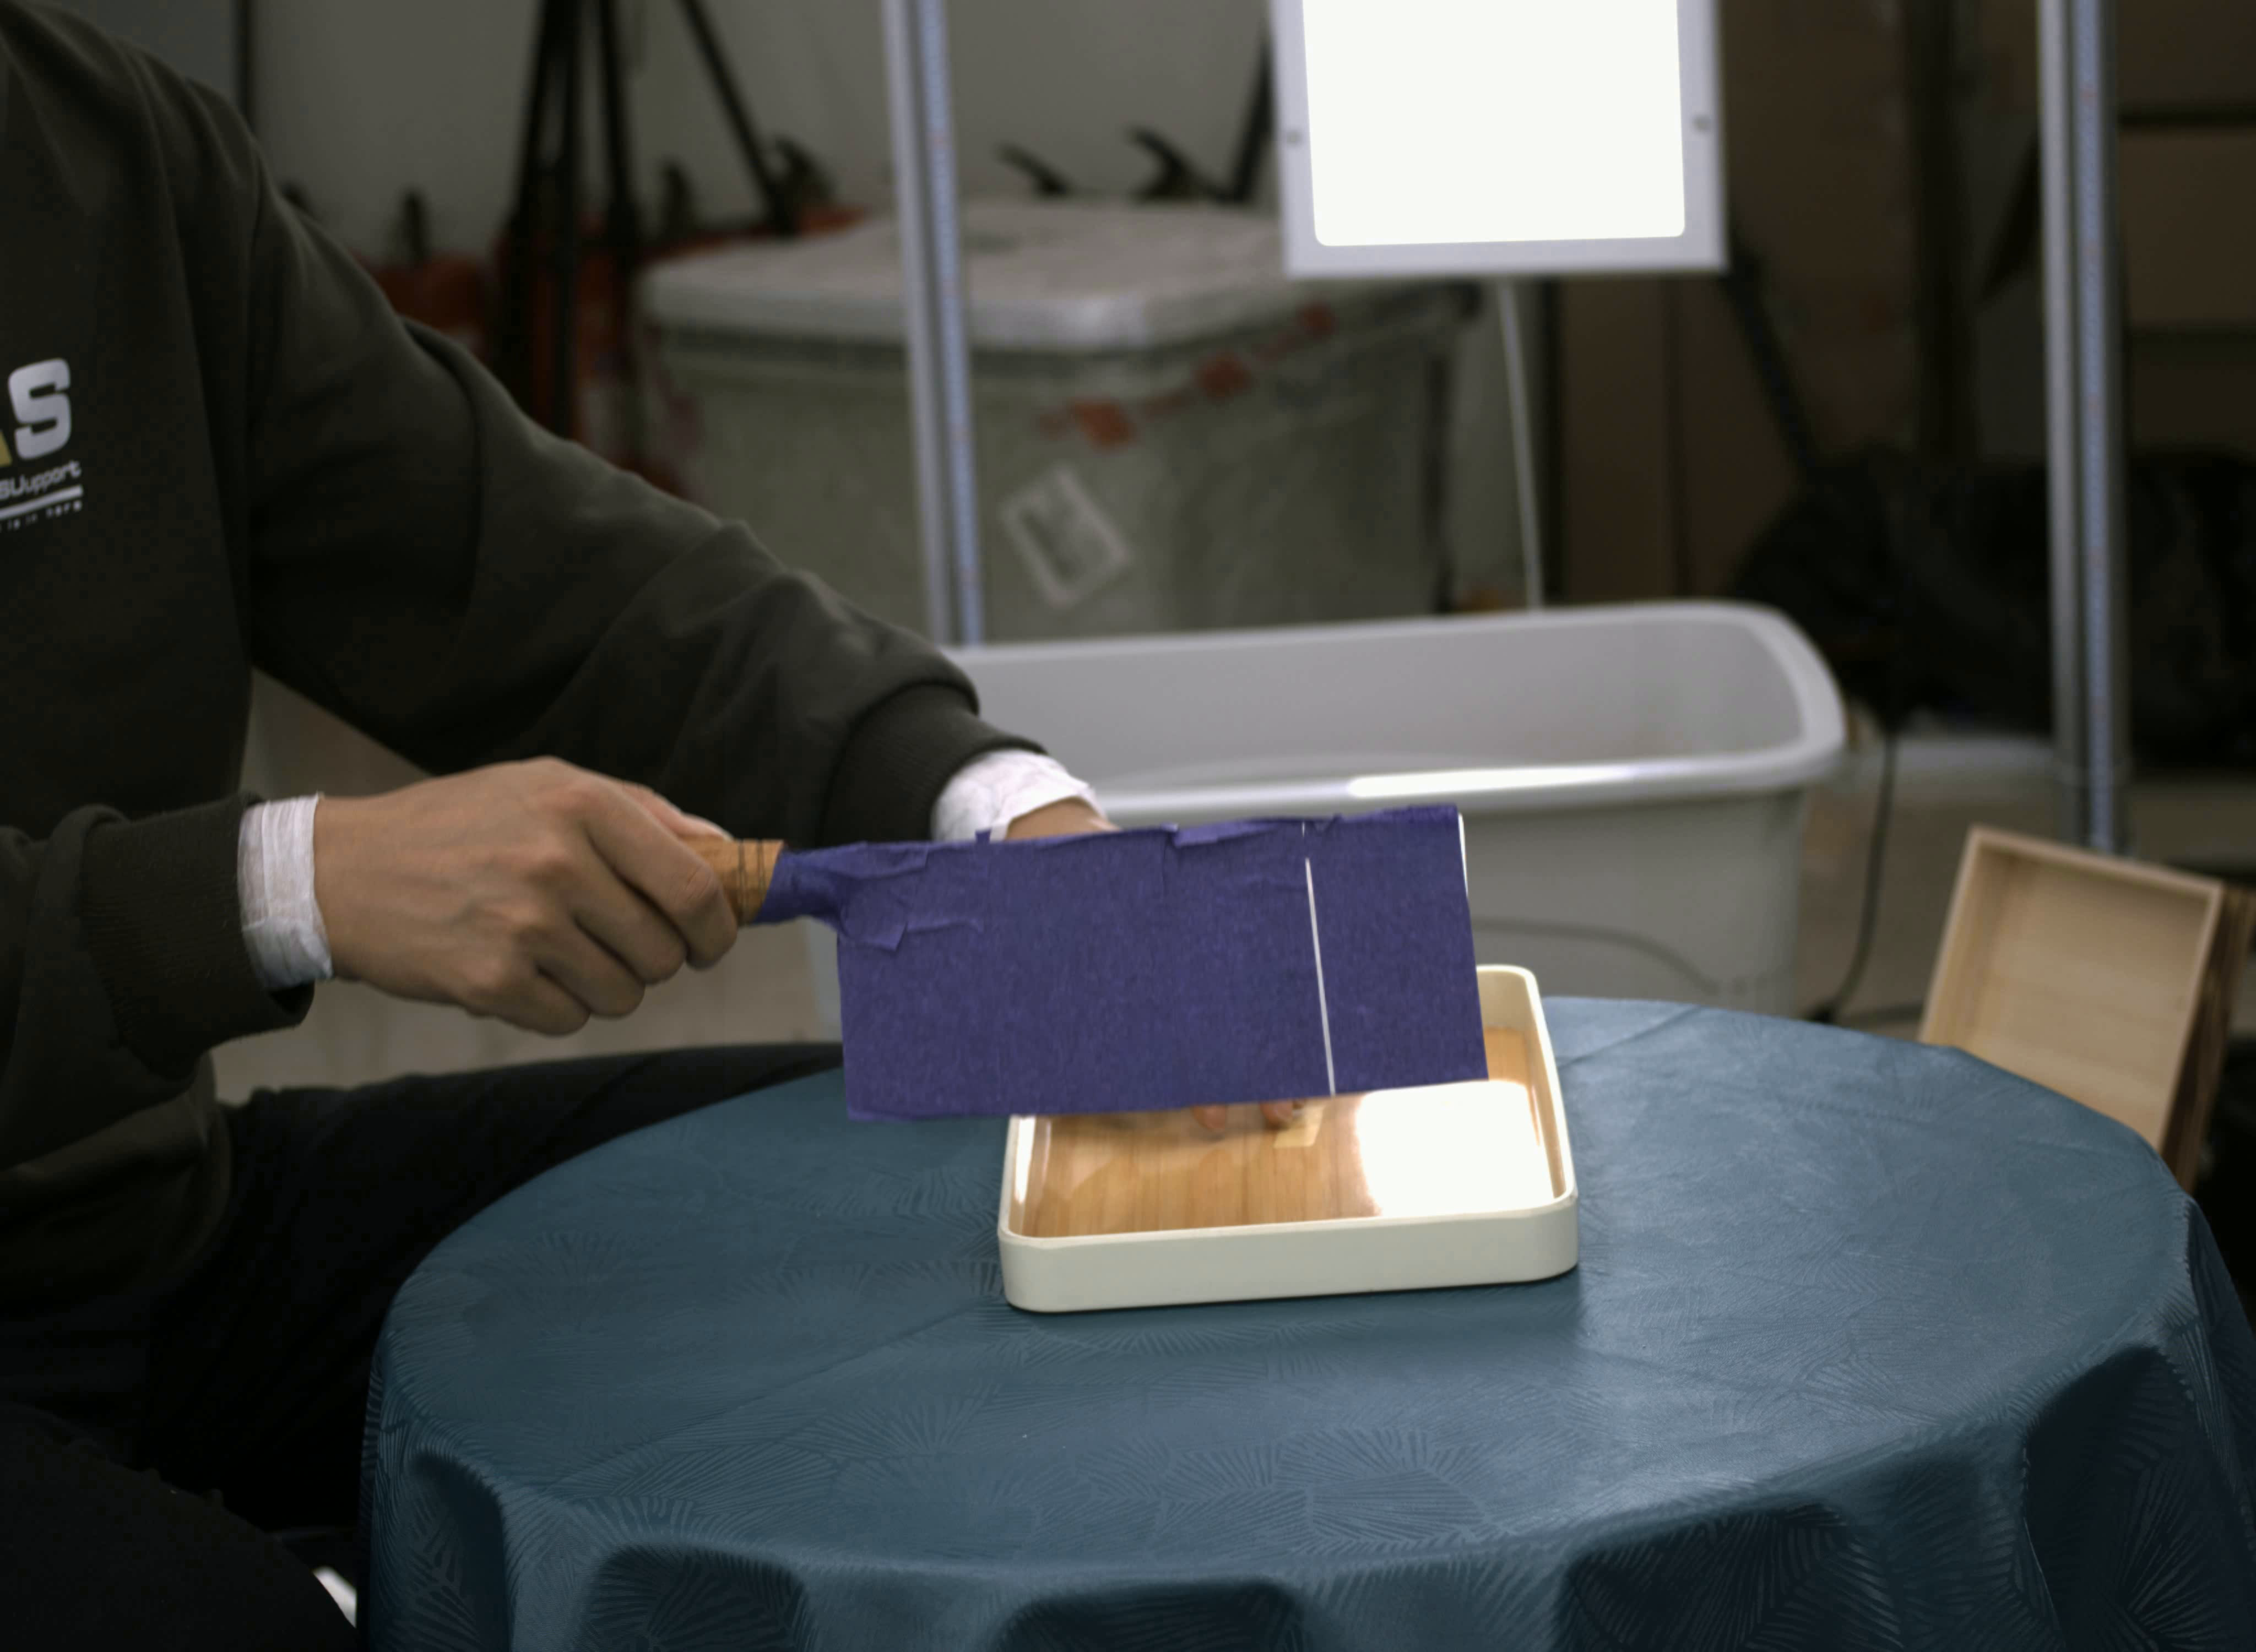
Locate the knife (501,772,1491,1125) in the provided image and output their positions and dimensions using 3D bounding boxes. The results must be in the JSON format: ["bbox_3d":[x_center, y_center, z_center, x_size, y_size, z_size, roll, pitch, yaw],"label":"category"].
[{"bbox_3d":[-0.041,0.046,1.761,0.314,0.104,0.032,-5,-9,1],"label":"knife"}]

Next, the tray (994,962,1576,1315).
[{"bbox_3d":[0.054,0.105,1.914,0.192,0.027,0.299,-5,14,3],"label":"tray"}]
